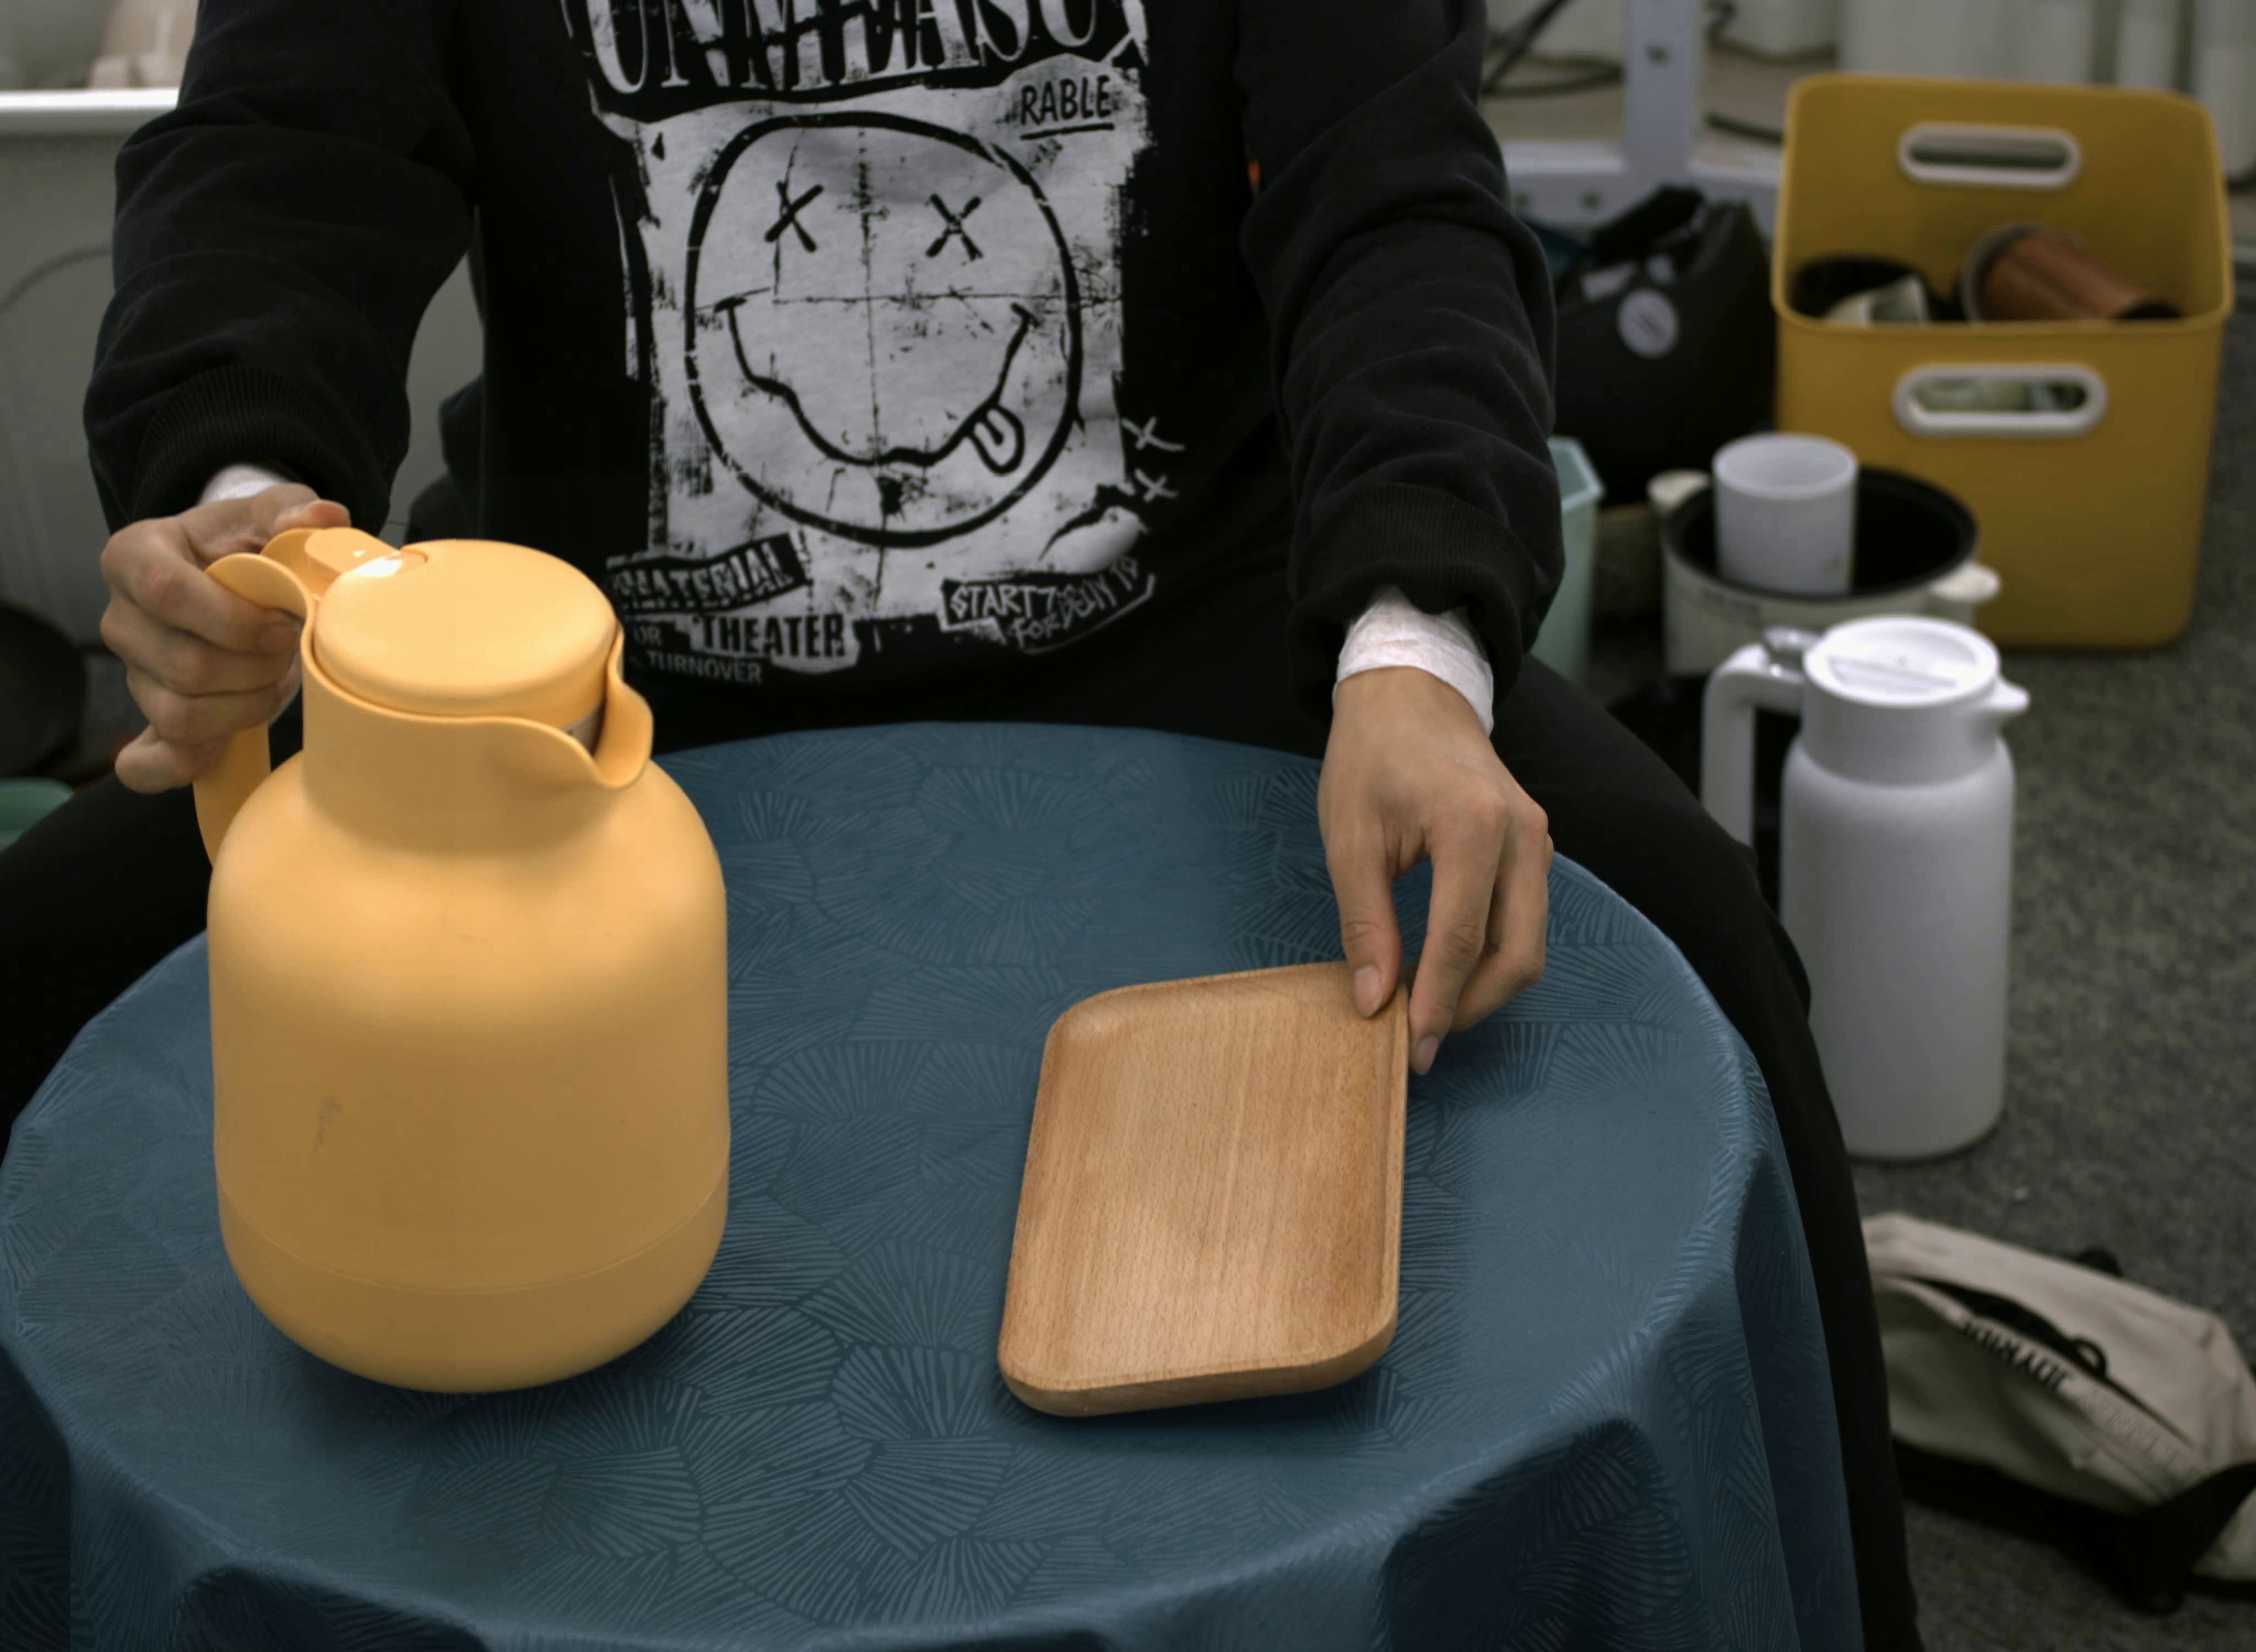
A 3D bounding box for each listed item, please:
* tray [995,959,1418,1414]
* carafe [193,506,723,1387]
[{"bbox_3d":[0.029,0.115,1.834,0.130,0.022,0.254,-5,26,8],"label":"tray"},{"bbox_3d":[-0.219,0.027,1.755,0.165,0.257,0.203,-22,41,-40],"label":"carafe"}]
